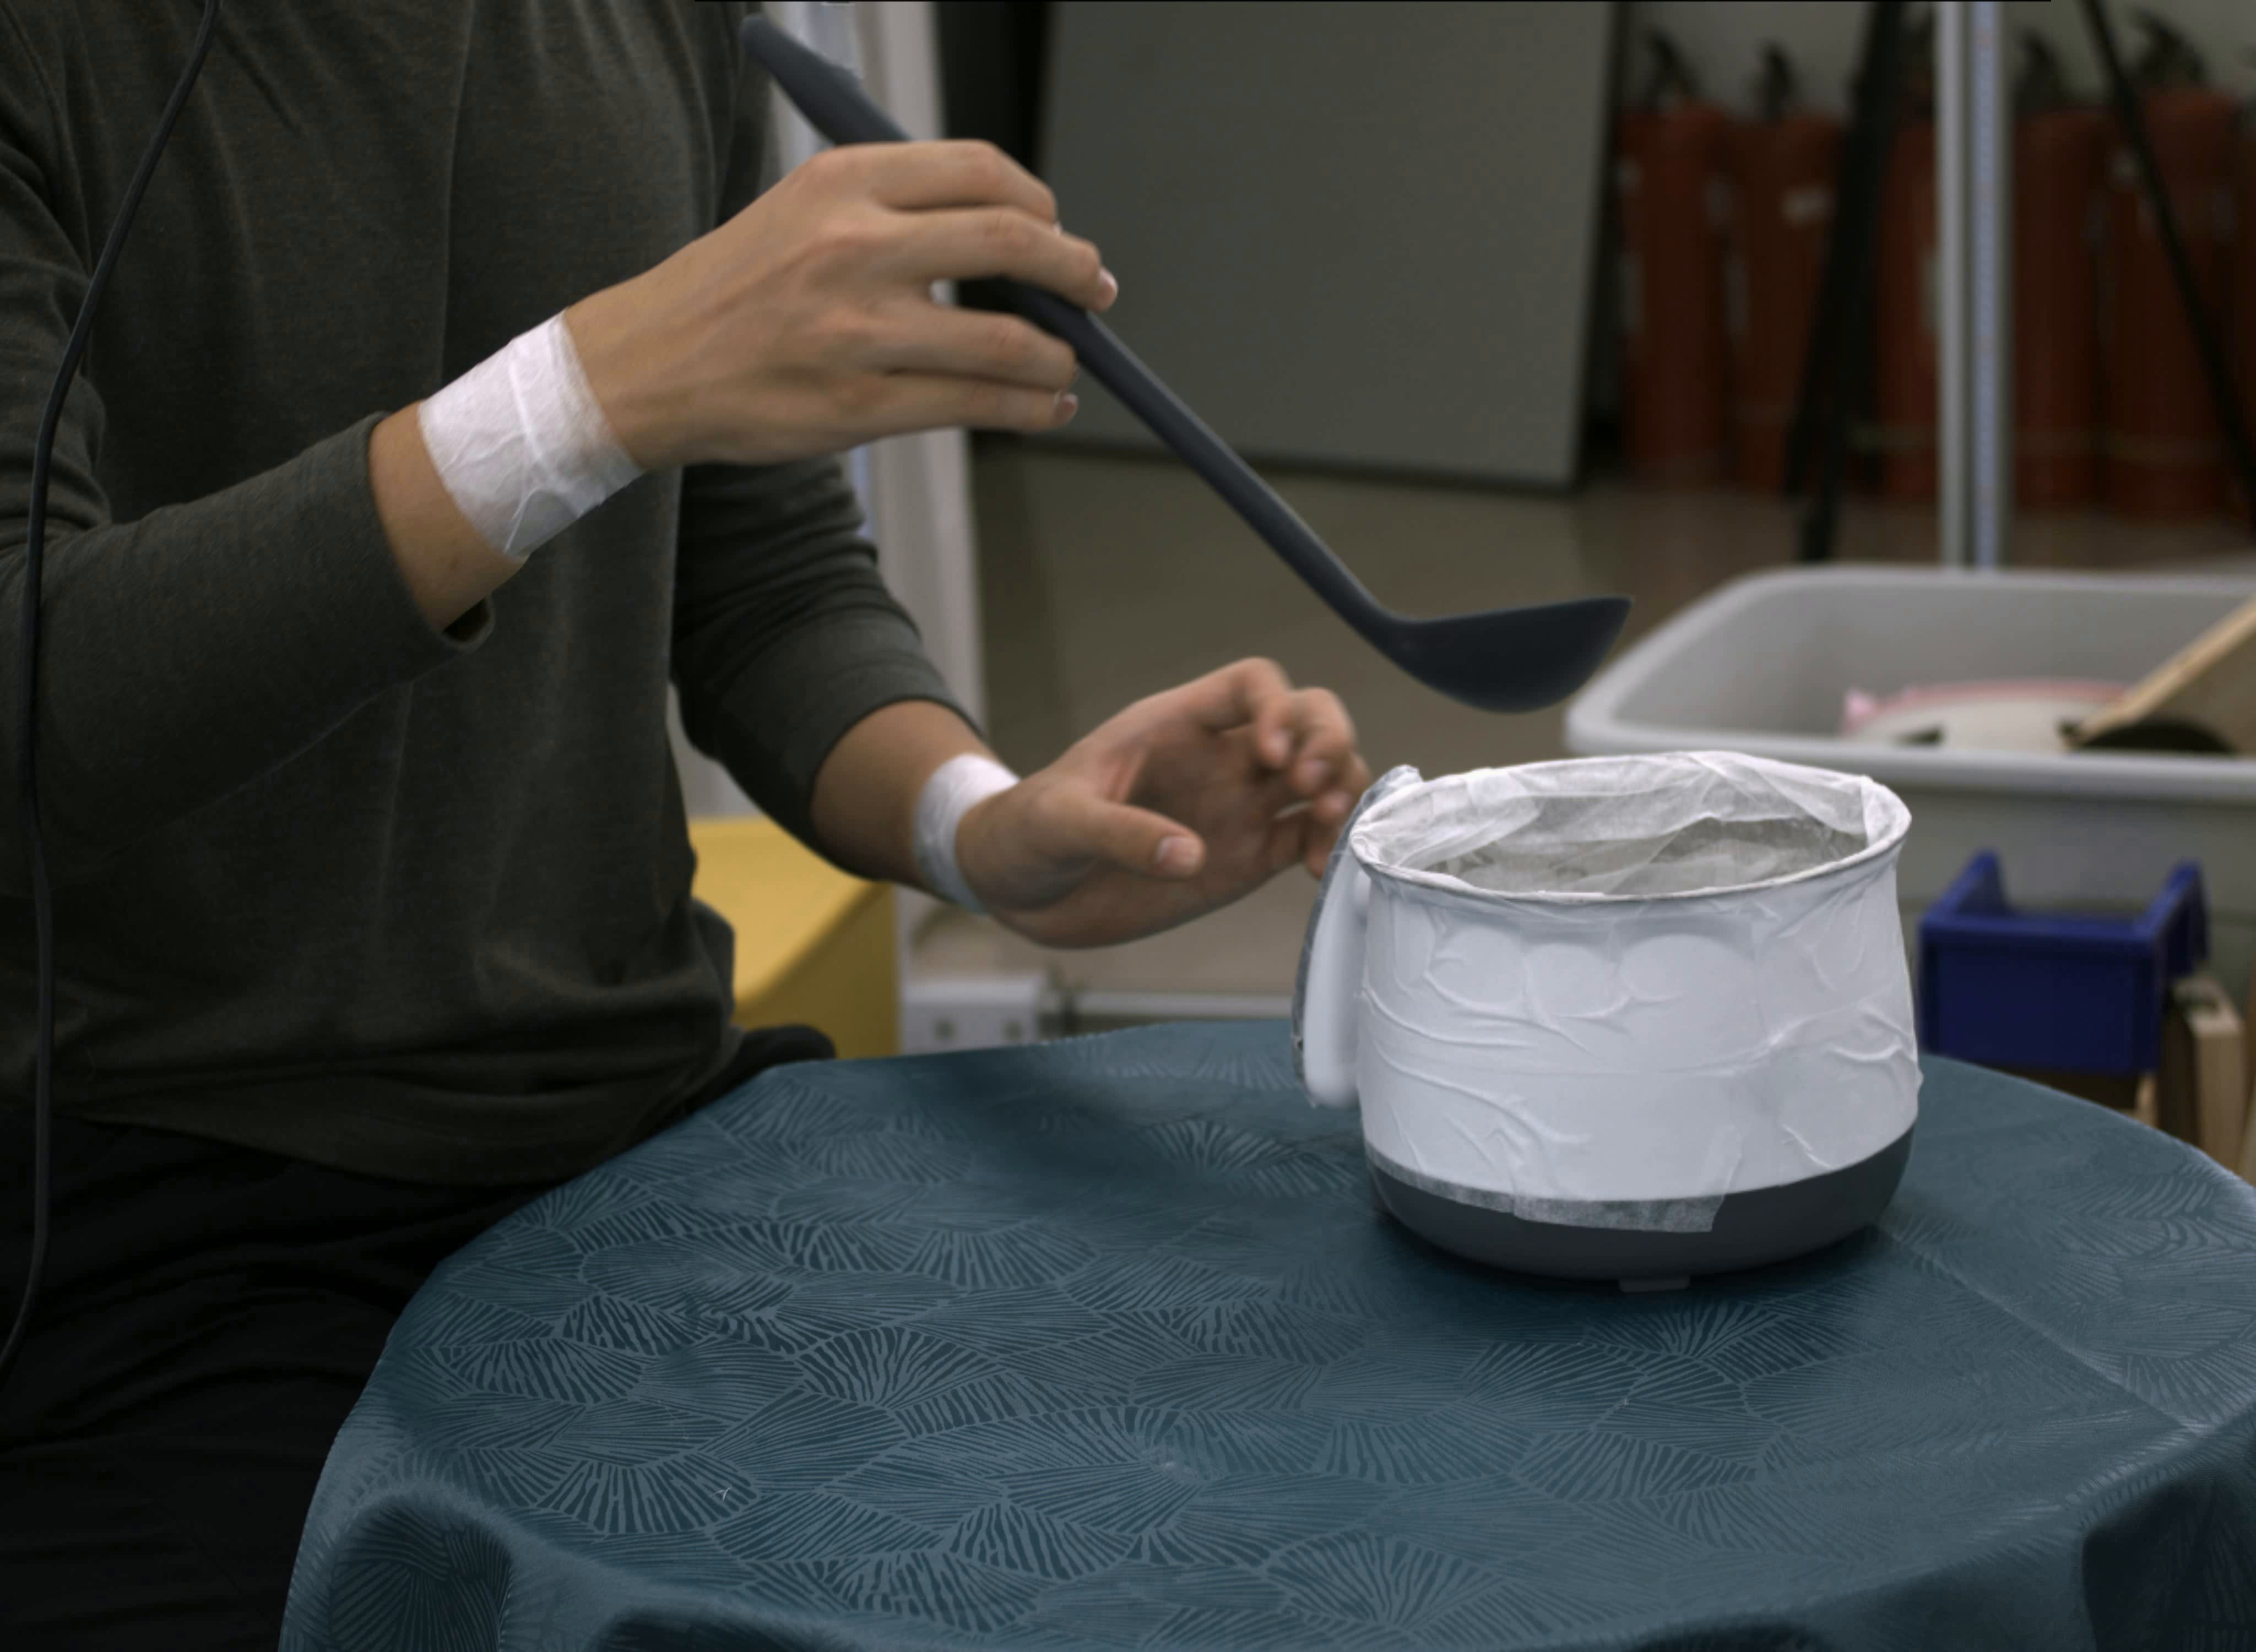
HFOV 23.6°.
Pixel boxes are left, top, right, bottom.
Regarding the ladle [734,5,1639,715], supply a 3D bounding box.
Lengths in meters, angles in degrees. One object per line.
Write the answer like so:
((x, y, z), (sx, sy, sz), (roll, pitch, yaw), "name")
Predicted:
((0.017, -0.145, 1.567), (0.064, 0.313, 0.086), (-47, 1, -5), "ladle")

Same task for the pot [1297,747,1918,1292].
((0.141, 0.055, 1.712), (0.175, 0.138, 0.236), (-15, 17, -41), "pot")
